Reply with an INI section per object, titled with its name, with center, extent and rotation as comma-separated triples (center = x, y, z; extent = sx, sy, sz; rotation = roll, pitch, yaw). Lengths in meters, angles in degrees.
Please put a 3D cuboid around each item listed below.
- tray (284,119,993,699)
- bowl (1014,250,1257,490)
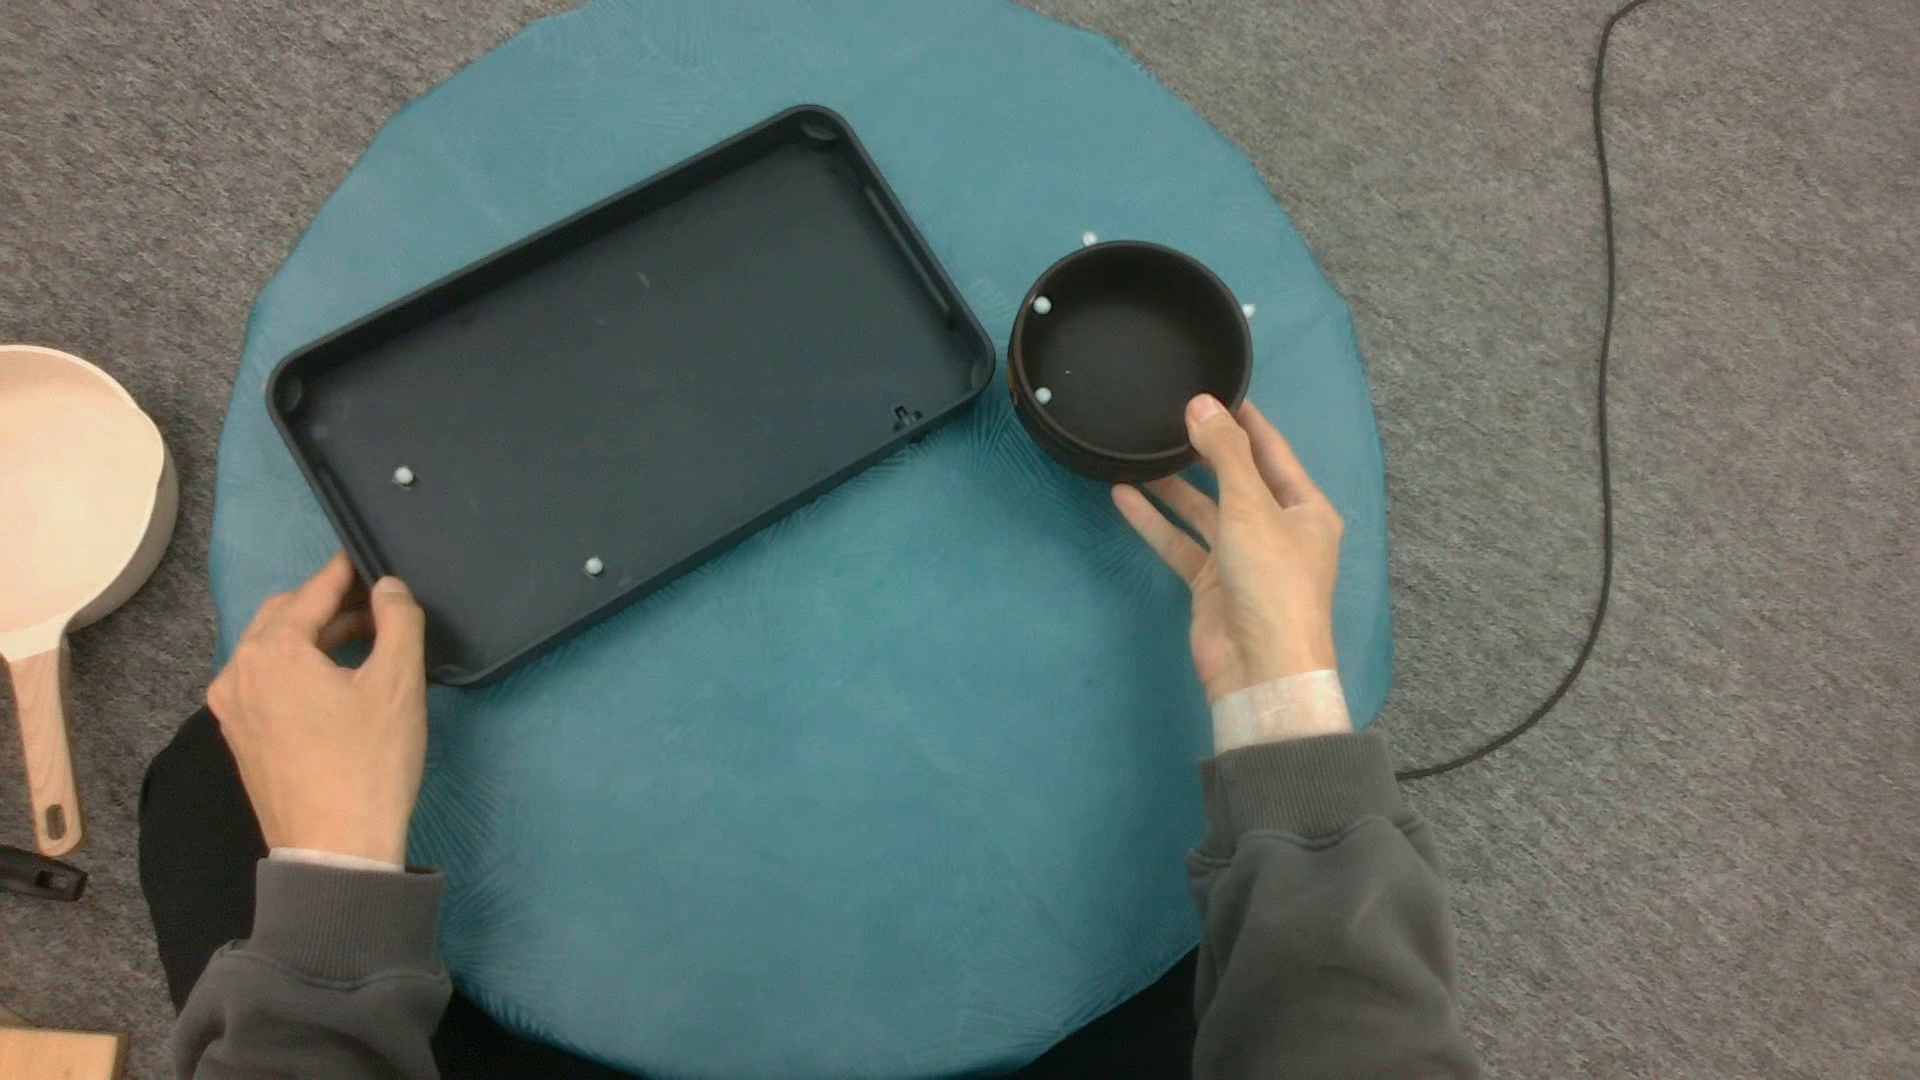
[tray]
center = -0.156, -0.072, 0.706
extent = 0.318, 0.037, 0.184
rotation = -33, 82, -14
[bowl]
center = 0.085, -0.080, 0.696
extent = 0.118, 0.069, 0.118
rotation = 1, 74, -3
